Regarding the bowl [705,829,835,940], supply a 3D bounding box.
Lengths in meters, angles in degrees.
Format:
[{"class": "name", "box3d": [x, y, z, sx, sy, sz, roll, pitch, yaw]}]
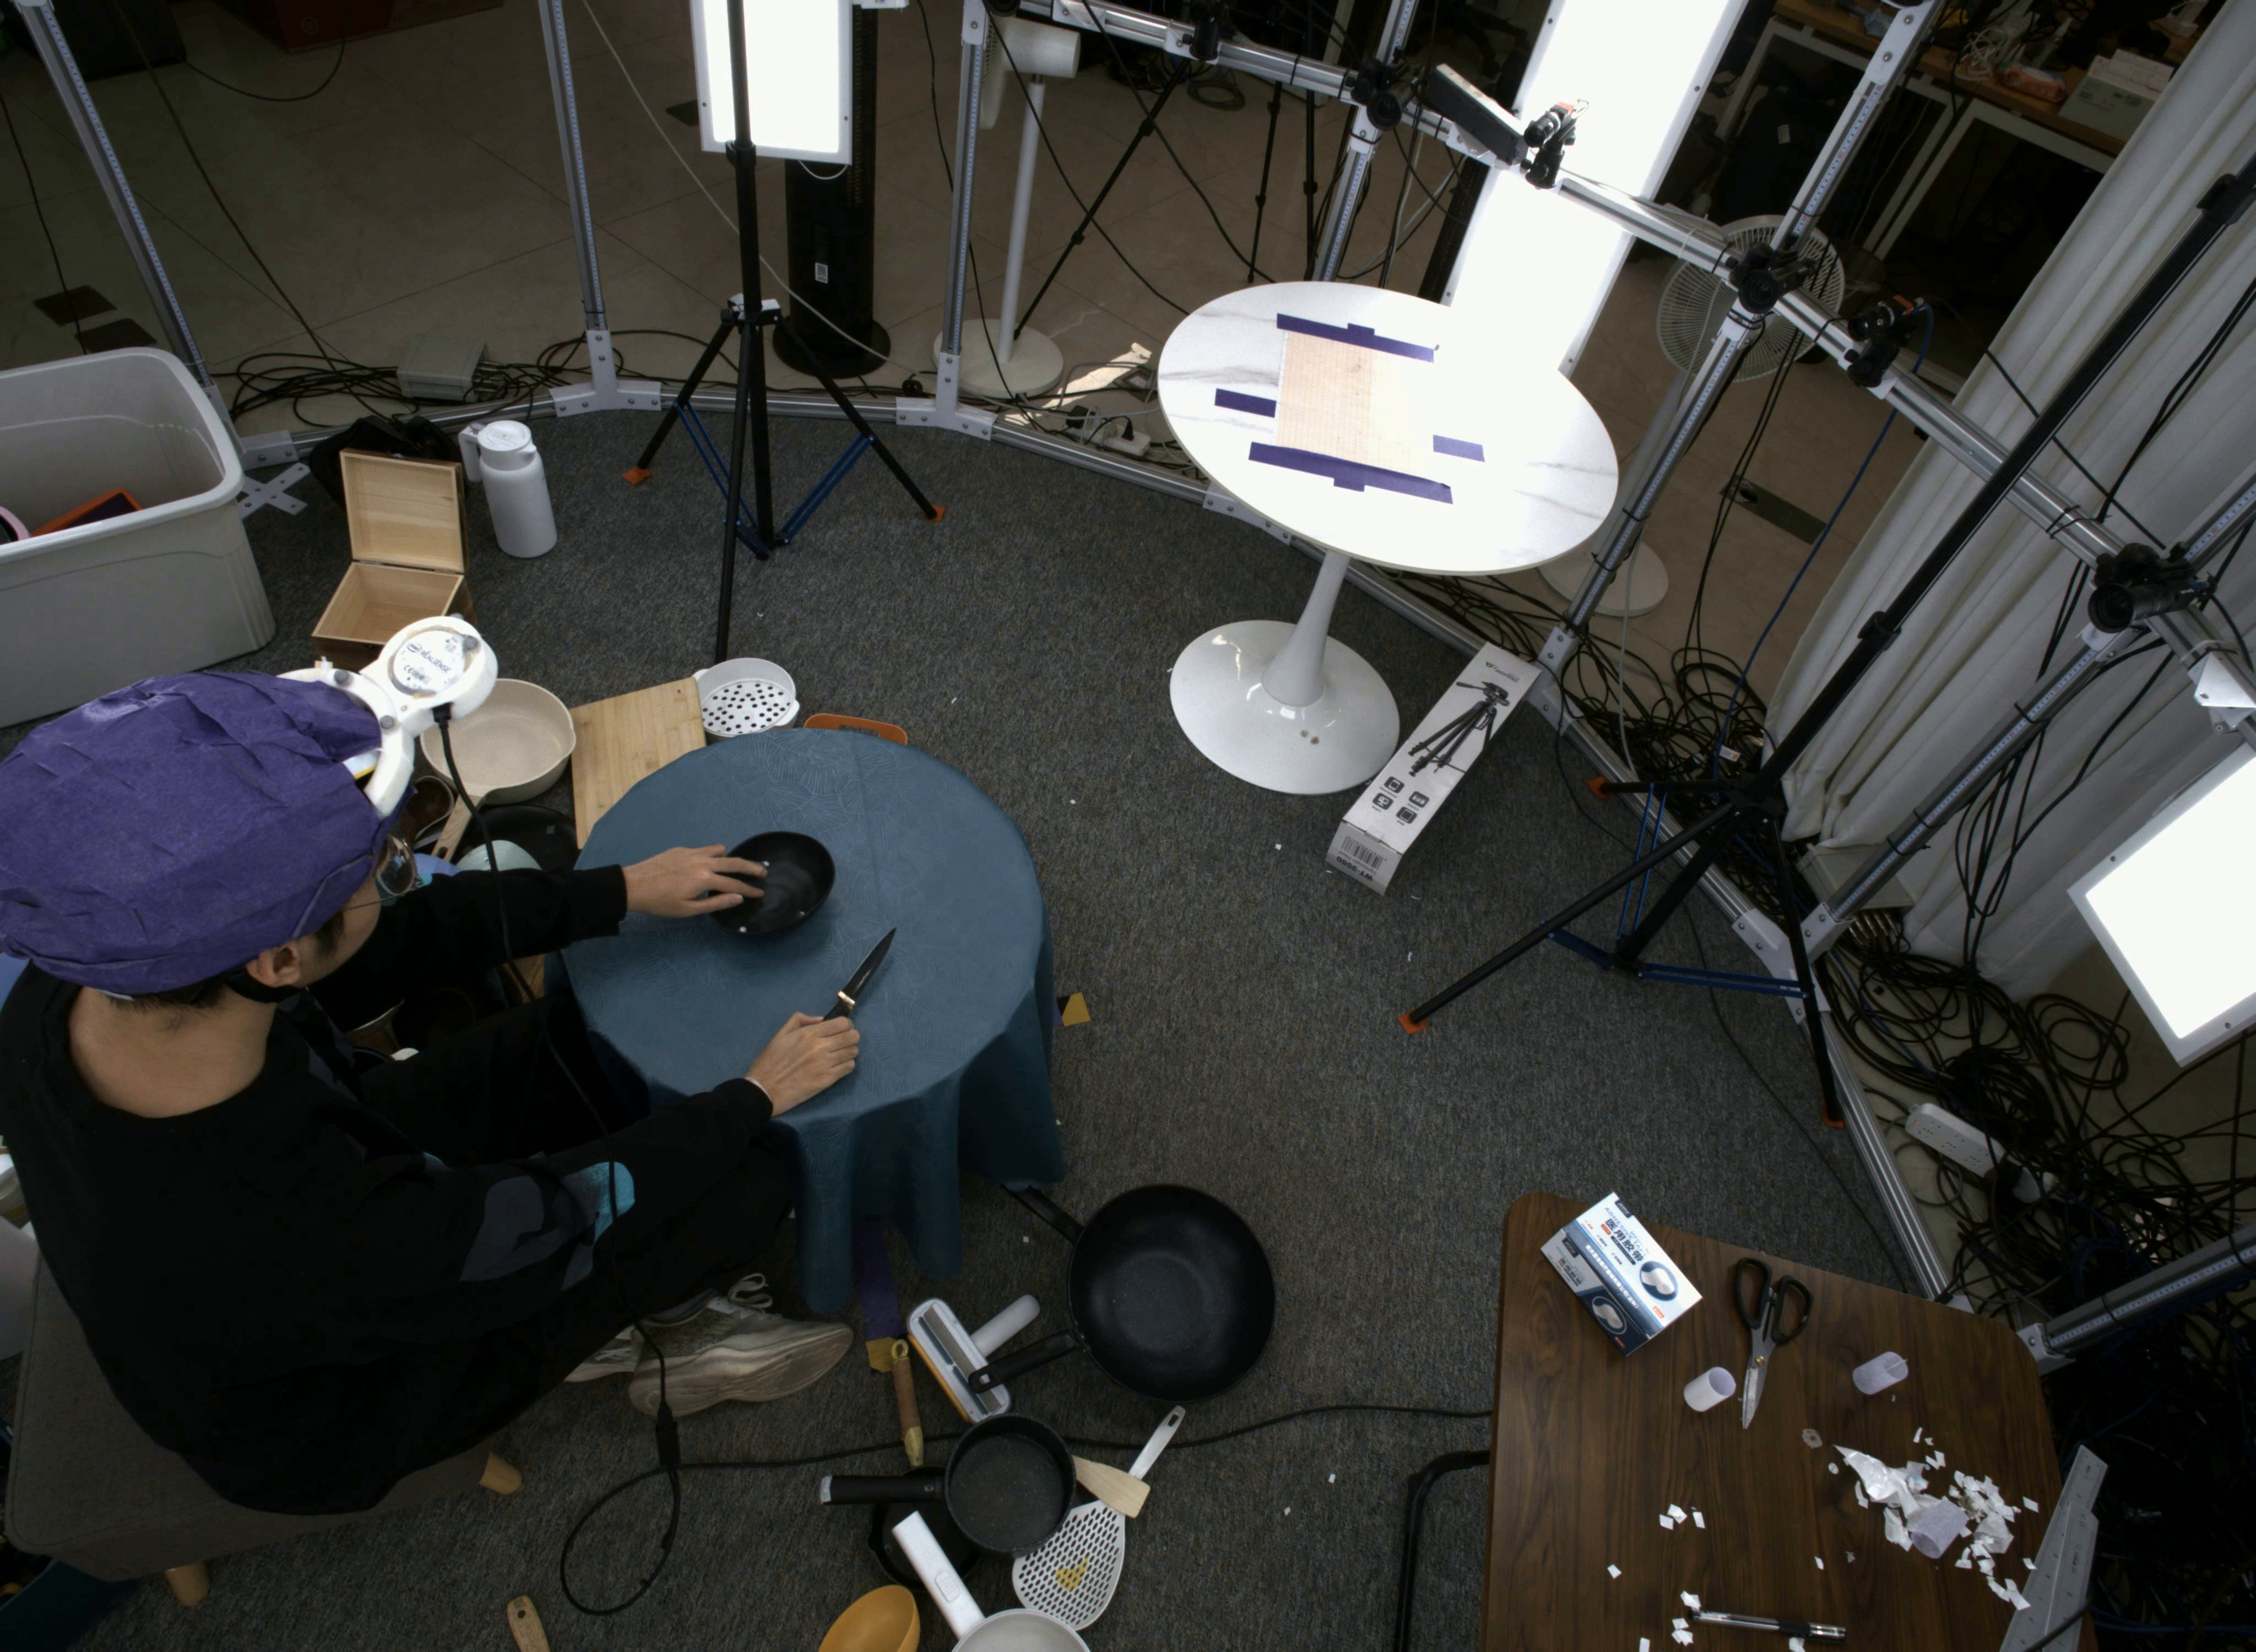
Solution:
[{"class": "bowl", "box3d": [-0.441, 0.083, 1.606, 0.134, 0.068, 0.170, 35, 55, 14]}]

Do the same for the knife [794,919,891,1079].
[{"class": "knife", "box3d": [-0.337, 0.201, 1.554, 0.027, 0.017, 0.224, 47, 53, -27]}]
